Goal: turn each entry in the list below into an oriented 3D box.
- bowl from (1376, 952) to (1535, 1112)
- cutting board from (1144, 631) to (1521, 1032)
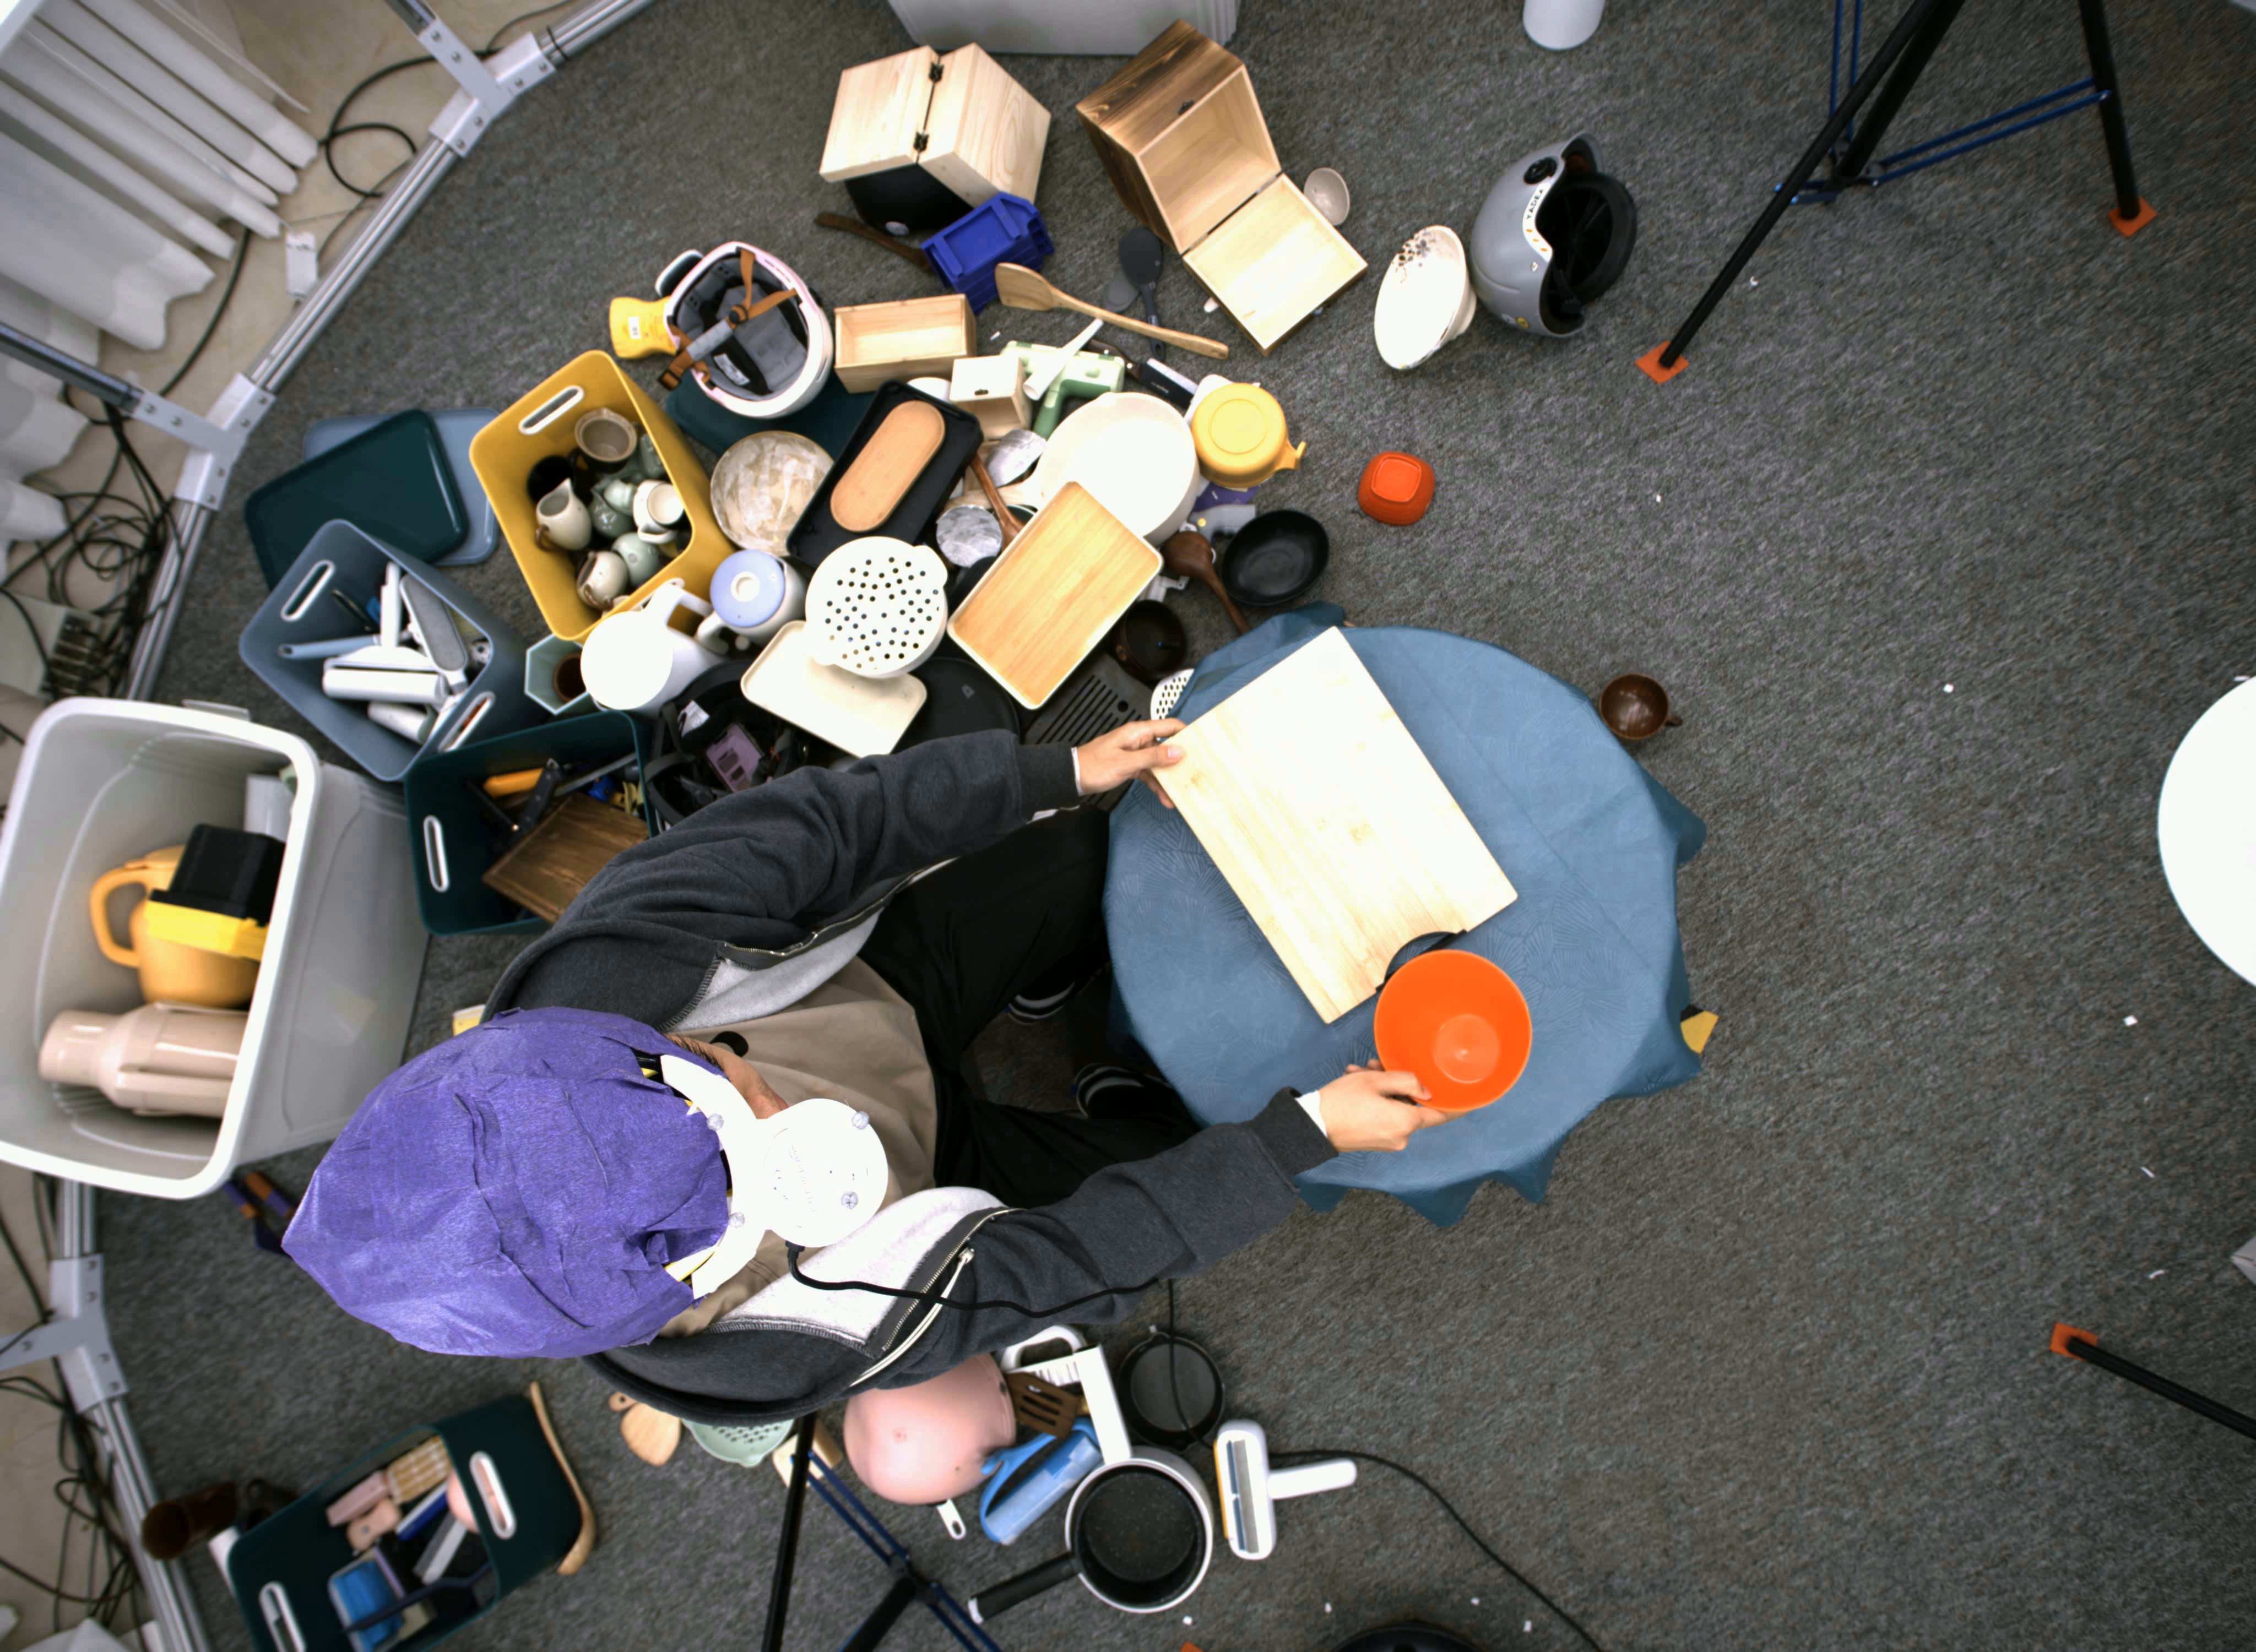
[{"bbox_3d":[0.318,0.198,1.321,0.149,0.105,0.146,-5,78,22],"label":"bowl"},{"bbox_3d":[0.212,0.004,1.429,0.252,0.023,0.349,-35,94,7],"label":"cutting board"}]
